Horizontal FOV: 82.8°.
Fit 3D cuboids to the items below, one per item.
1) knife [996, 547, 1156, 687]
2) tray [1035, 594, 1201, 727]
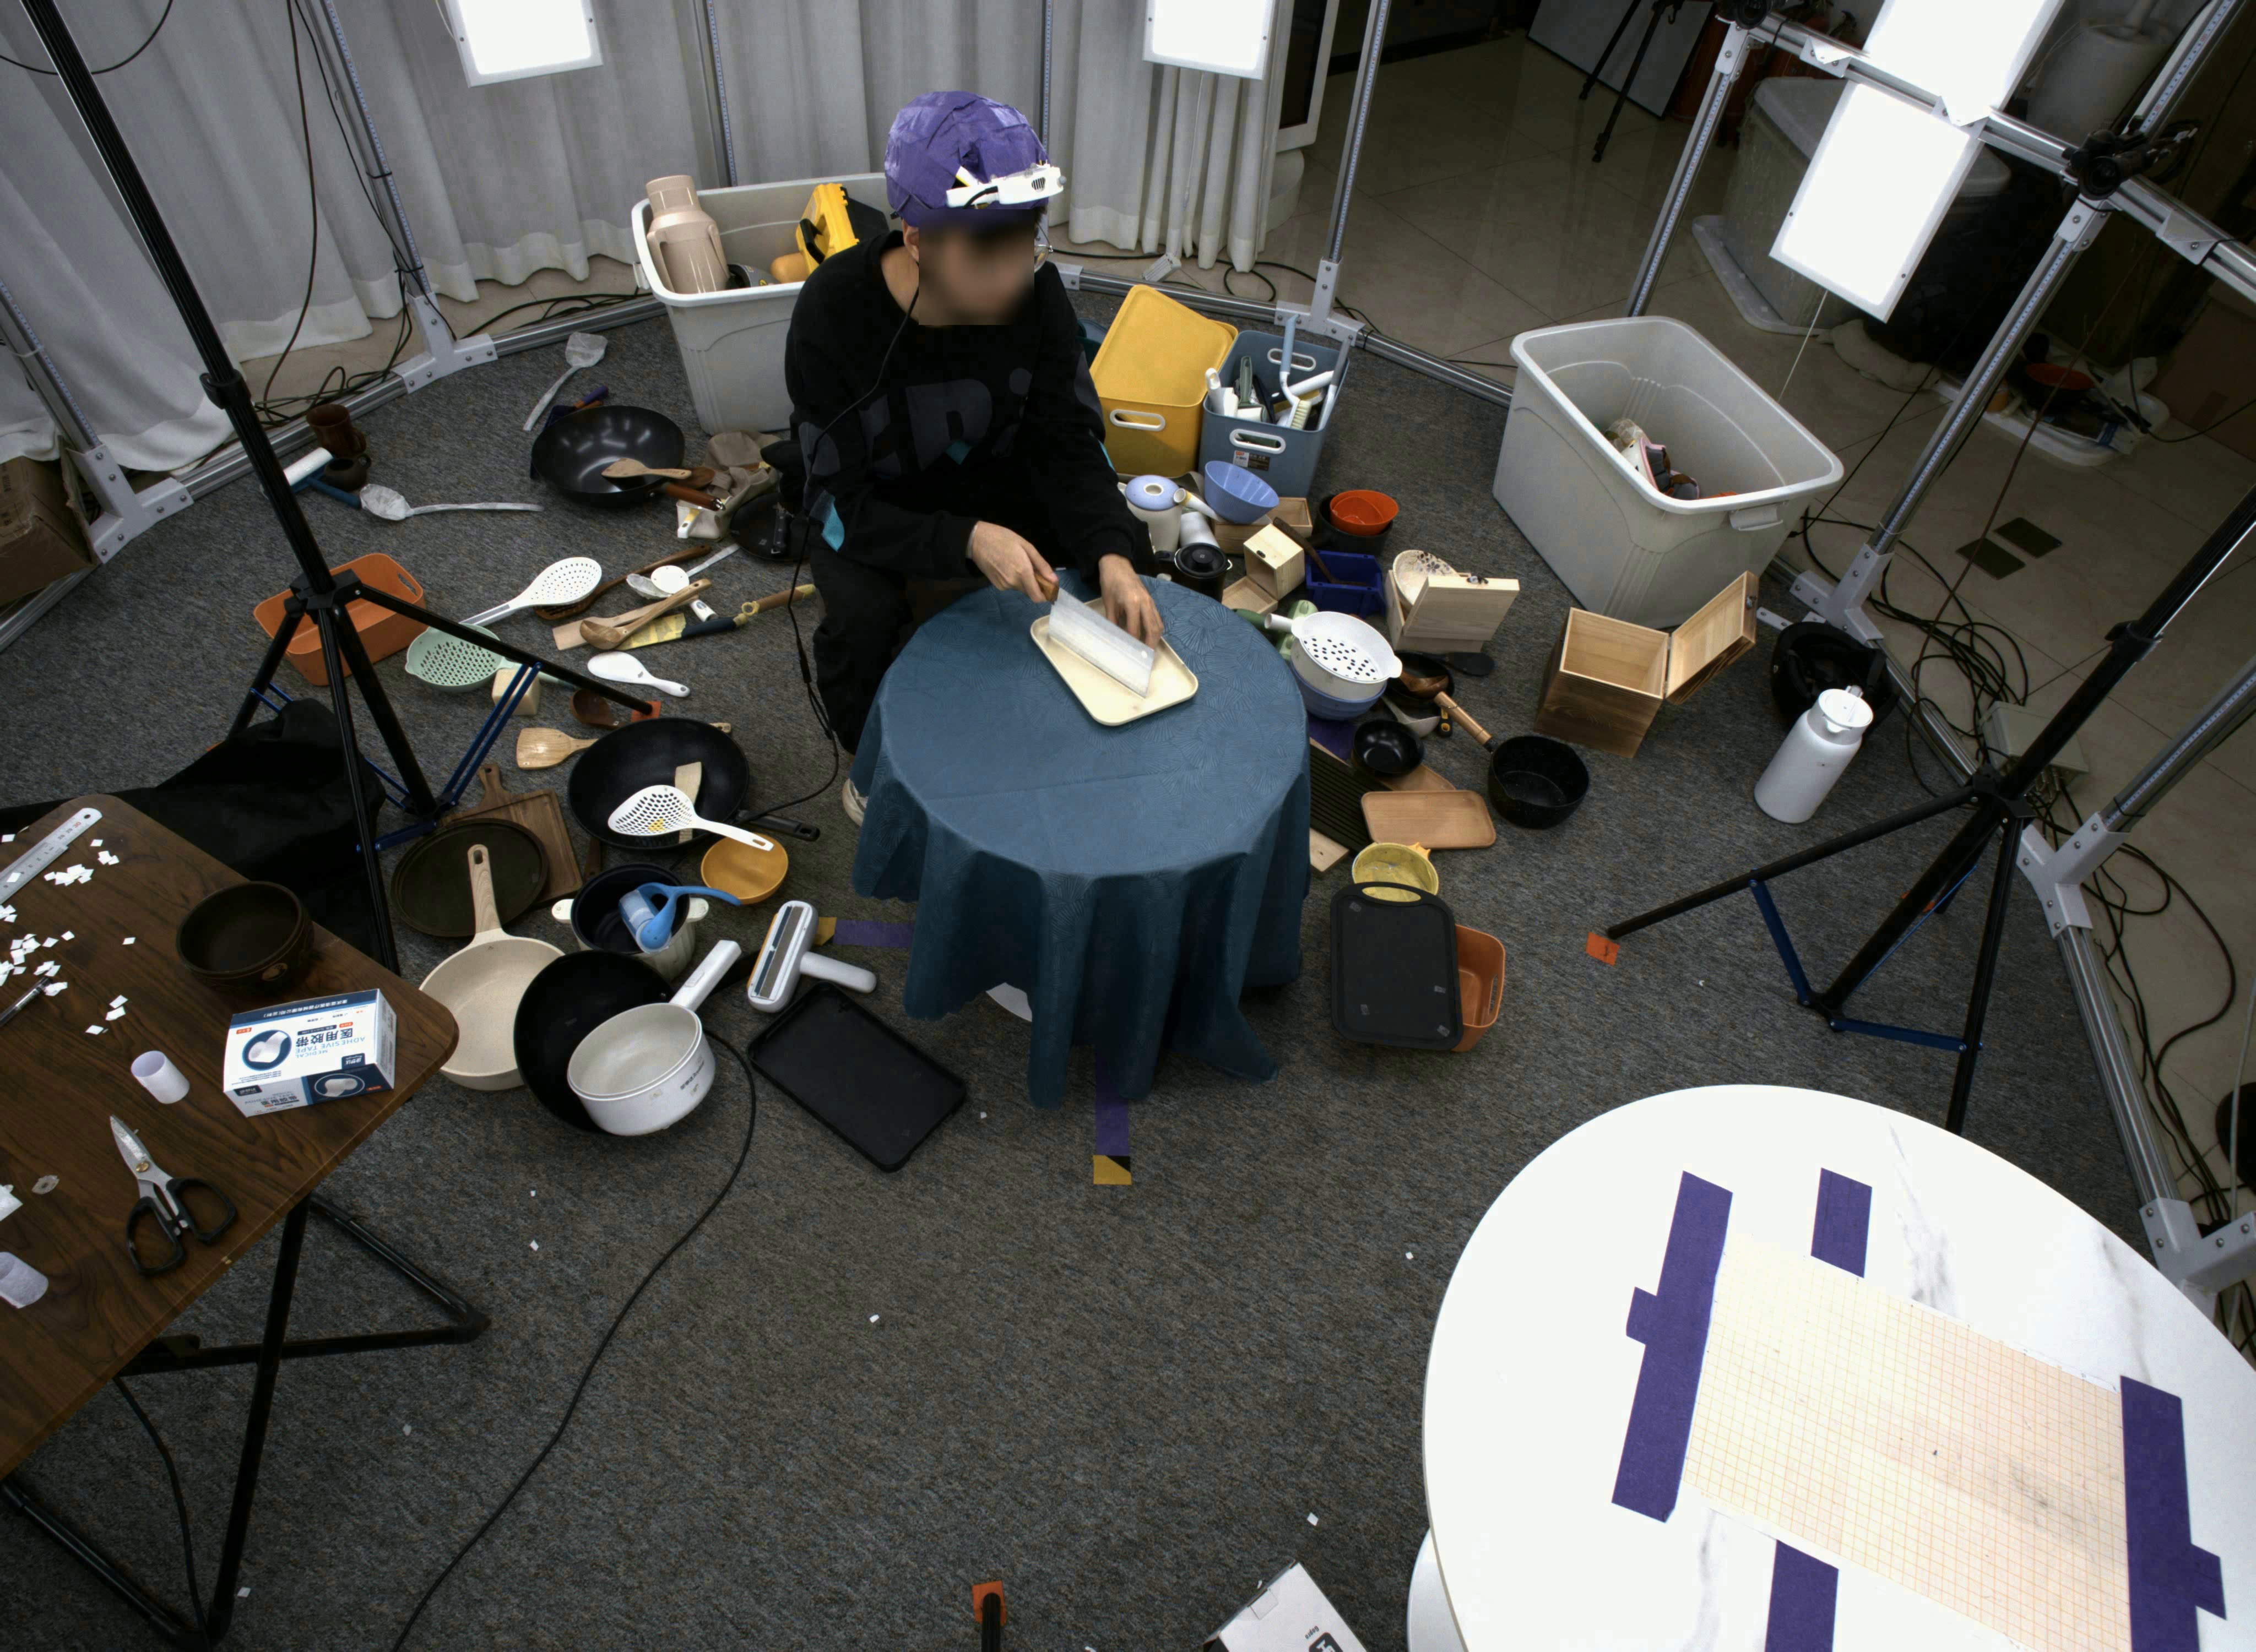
[{"bbox_3d":[-0.078,-0.296,1.844,0.310,0.091,0.021,37,52,23],"label":"knife"},{"bbox_3d":[-0.016,-0.242,1.865,0.172,0.017,0.245,-22,54,-19],"label":"tray"}]
